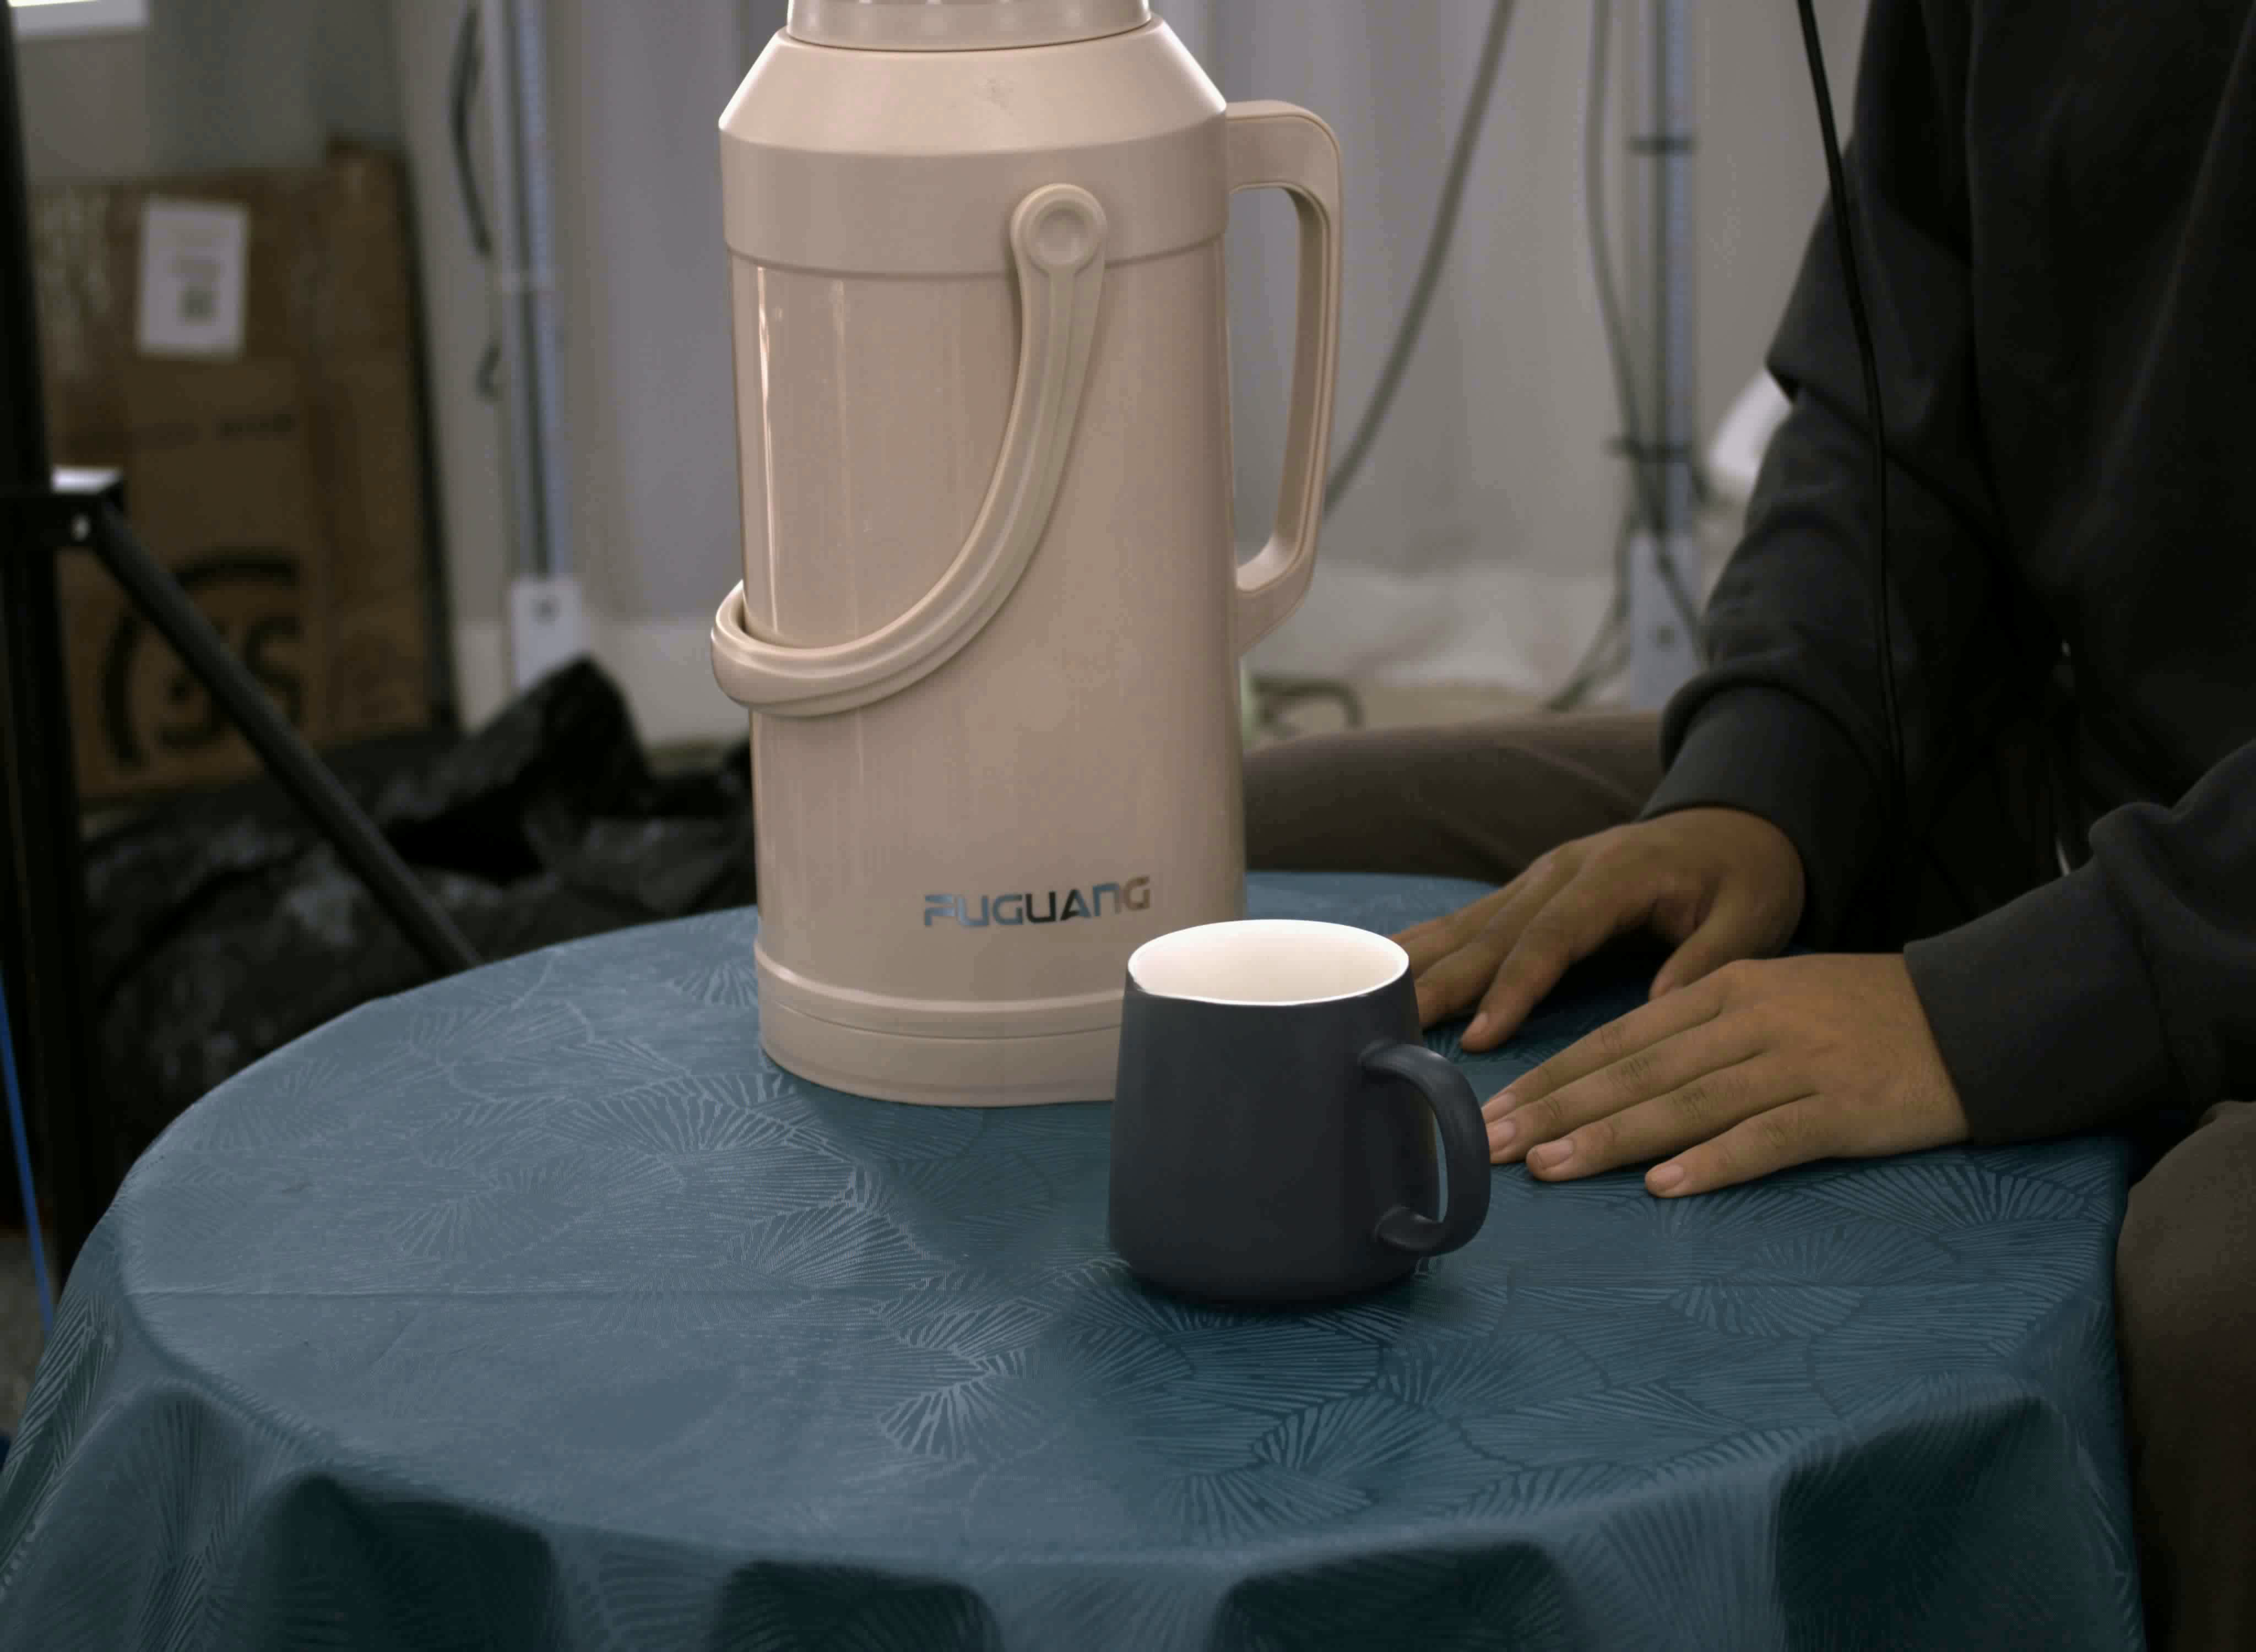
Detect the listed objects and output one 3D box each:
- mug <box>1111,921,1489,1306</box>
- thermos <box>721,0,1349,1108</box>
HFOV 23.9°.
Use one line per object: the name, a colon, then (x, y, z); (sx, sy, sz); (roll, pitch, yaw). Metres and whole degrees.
mug: (0.052, 0.083, 1.472); (0.091, 0.090, 0.126); (-15, 20, -40)
thermos: (-0.028, -0.127, 1.664); (0.204, 0.406, 0.178); (-7, 15, -16)
